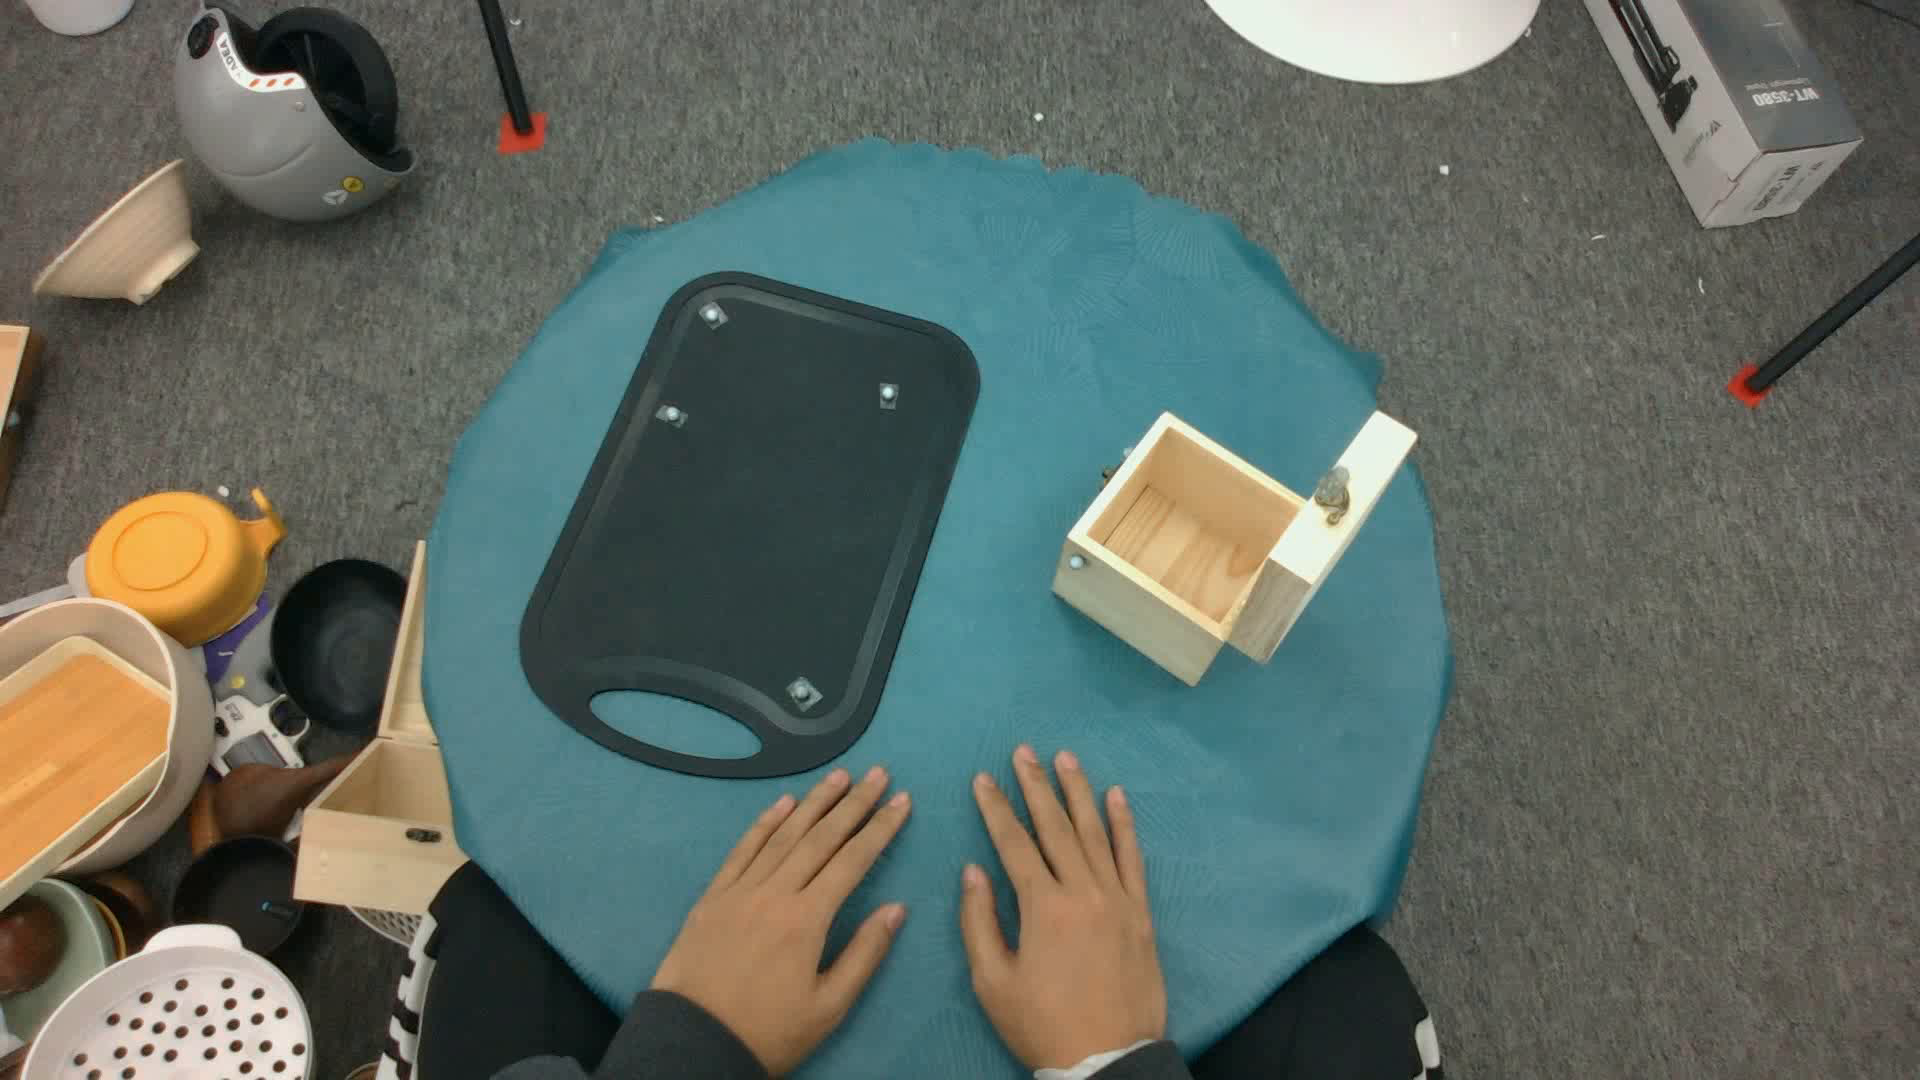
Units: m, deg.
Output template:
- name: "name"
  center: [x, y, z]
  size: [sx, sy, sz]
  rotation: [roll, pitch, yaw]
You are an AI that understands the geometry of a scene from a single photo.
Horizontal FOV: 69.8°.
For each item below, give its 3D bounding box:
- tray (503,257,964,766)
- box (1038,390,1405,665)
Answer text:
- name: "tray"
  center: [-0.130, -0.025, 0.819]
  size: [0.211, 0.010, 0.326]
  rotation: [15, 65, 4]
- name: "box"
  center: [0.129, -0.022, 0.737]
  size: [0.134, 0.184, 0.103]
  rotation: [34, 68, 10]
